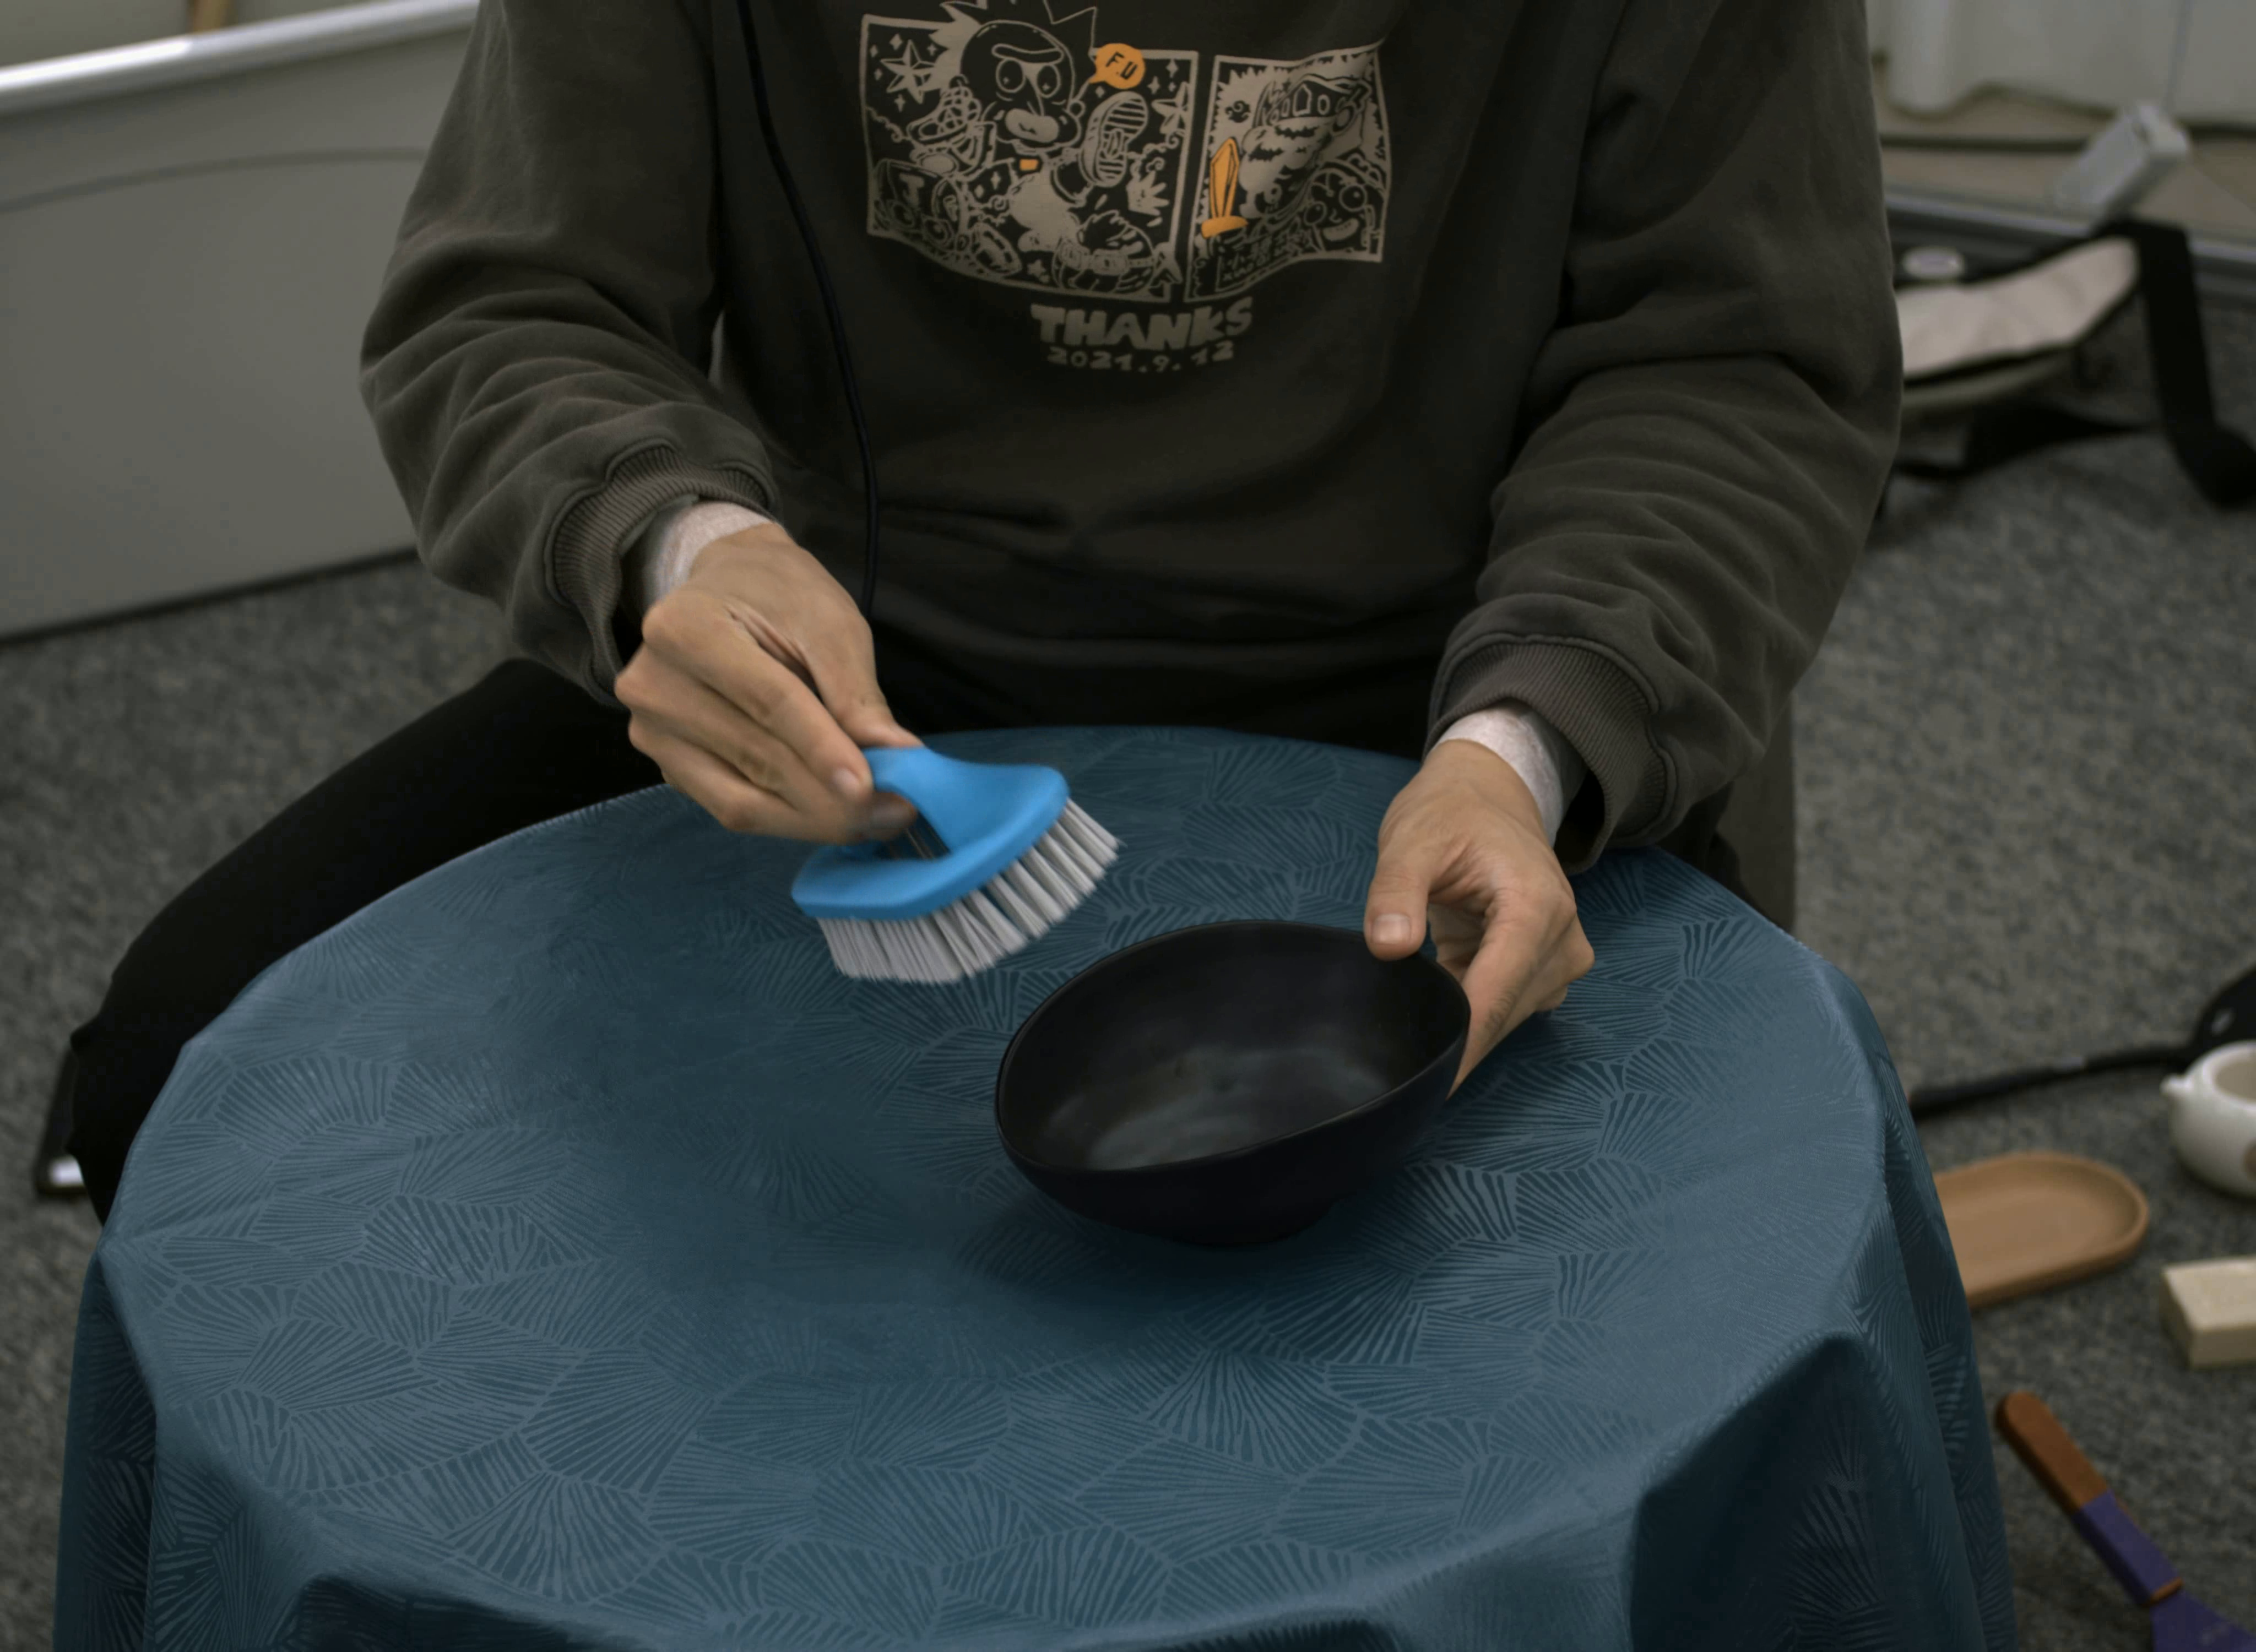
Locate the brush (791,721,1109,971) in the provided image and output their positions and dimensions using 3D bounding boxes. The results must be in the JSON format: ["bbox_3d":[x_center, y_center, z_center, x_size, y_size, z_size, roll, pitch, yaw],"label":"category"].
[{"bbox_3d":[-0.068,-0.004,1.817,0.085,0.063,0.141,-44,17,-18],"label":"brush"}]

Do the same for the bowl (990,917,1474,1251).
[{"bbox_3d":[0.036,0.095,1.842,0.172,0.066,0.137,-24,33,-32],"label":"bowl"}]
